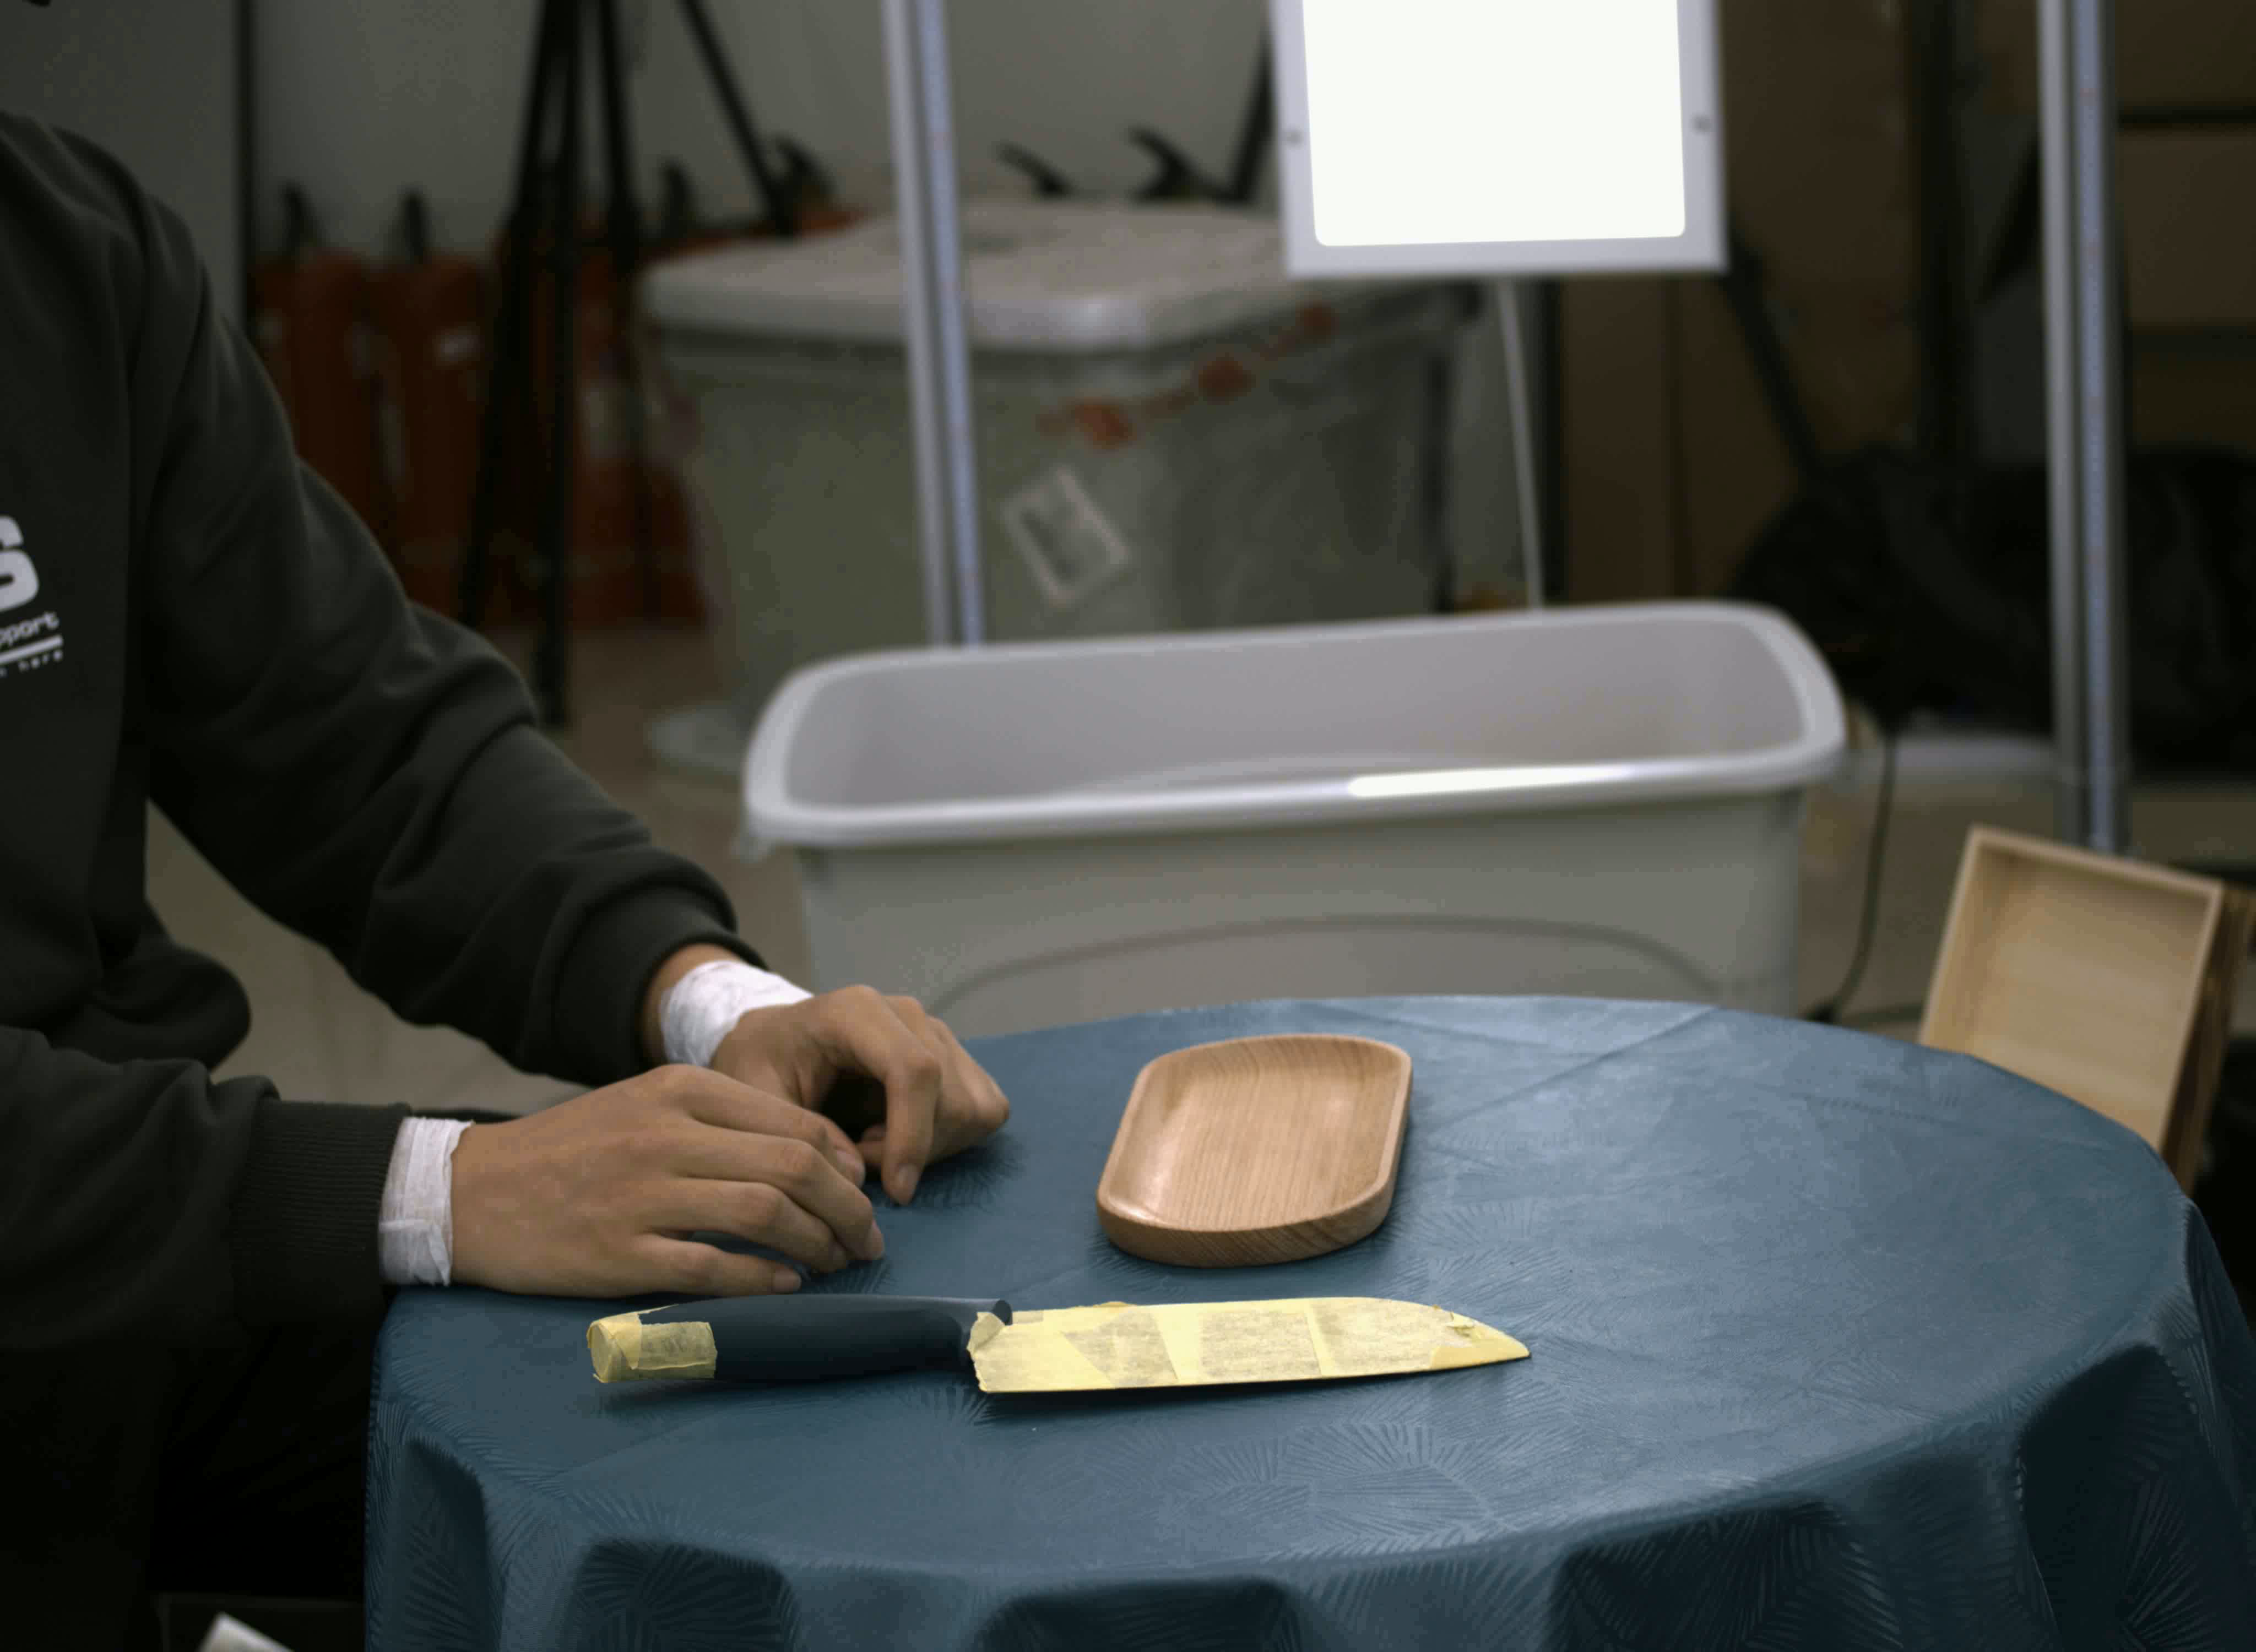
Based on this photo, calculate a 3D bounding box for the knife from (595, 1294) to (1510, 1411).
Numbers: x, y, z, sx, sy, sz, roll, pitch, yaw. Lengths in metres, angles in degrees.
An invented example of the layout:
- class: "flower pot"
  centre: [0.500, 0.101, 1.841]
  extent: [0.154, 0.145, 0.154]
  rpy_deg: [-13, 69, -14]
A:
- class: "knife"
  centre: [-0.024, 0.165, 1.723]
  extent: [0.289, 0.027, 0.081]
  rpy_deg: [-4, 12, 2]

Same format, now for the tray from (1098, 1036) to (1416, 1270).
- class: "tray"
  centre: [0.047, 0.112, 1.913]
  extent: [0.102, 0.020, 0.229]
  rpy_deg: [-5, 15, 8]
